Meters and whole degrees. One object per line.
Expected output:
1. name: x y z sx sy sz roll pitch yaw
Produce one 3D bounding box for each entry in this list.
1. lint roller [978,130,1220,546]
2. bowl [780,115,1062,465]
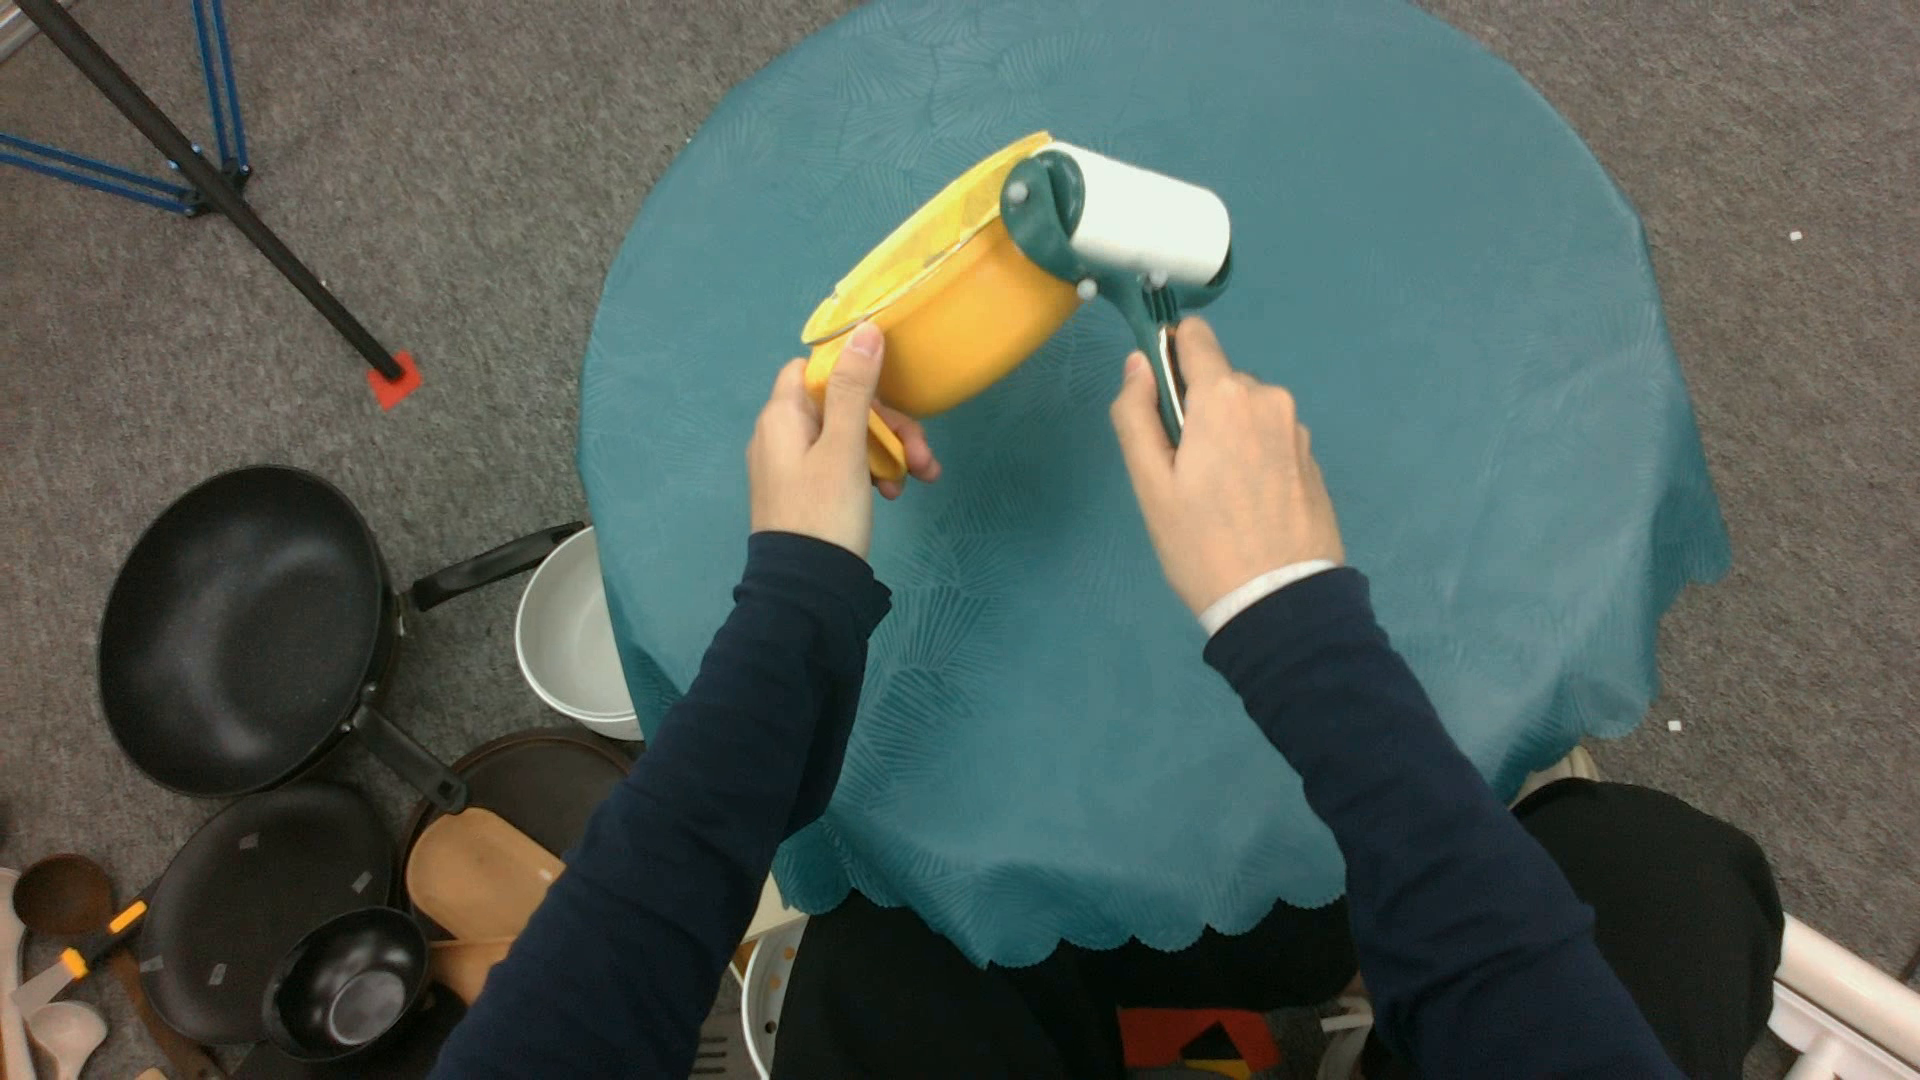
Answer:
1. lint roller: 0.083 -0.087 0.585 0.048 0.135 0.180 -37 66 38
2. bowl: -0.017 -0.119 0.662 0.152 0.074 0.180 -18 30 44
